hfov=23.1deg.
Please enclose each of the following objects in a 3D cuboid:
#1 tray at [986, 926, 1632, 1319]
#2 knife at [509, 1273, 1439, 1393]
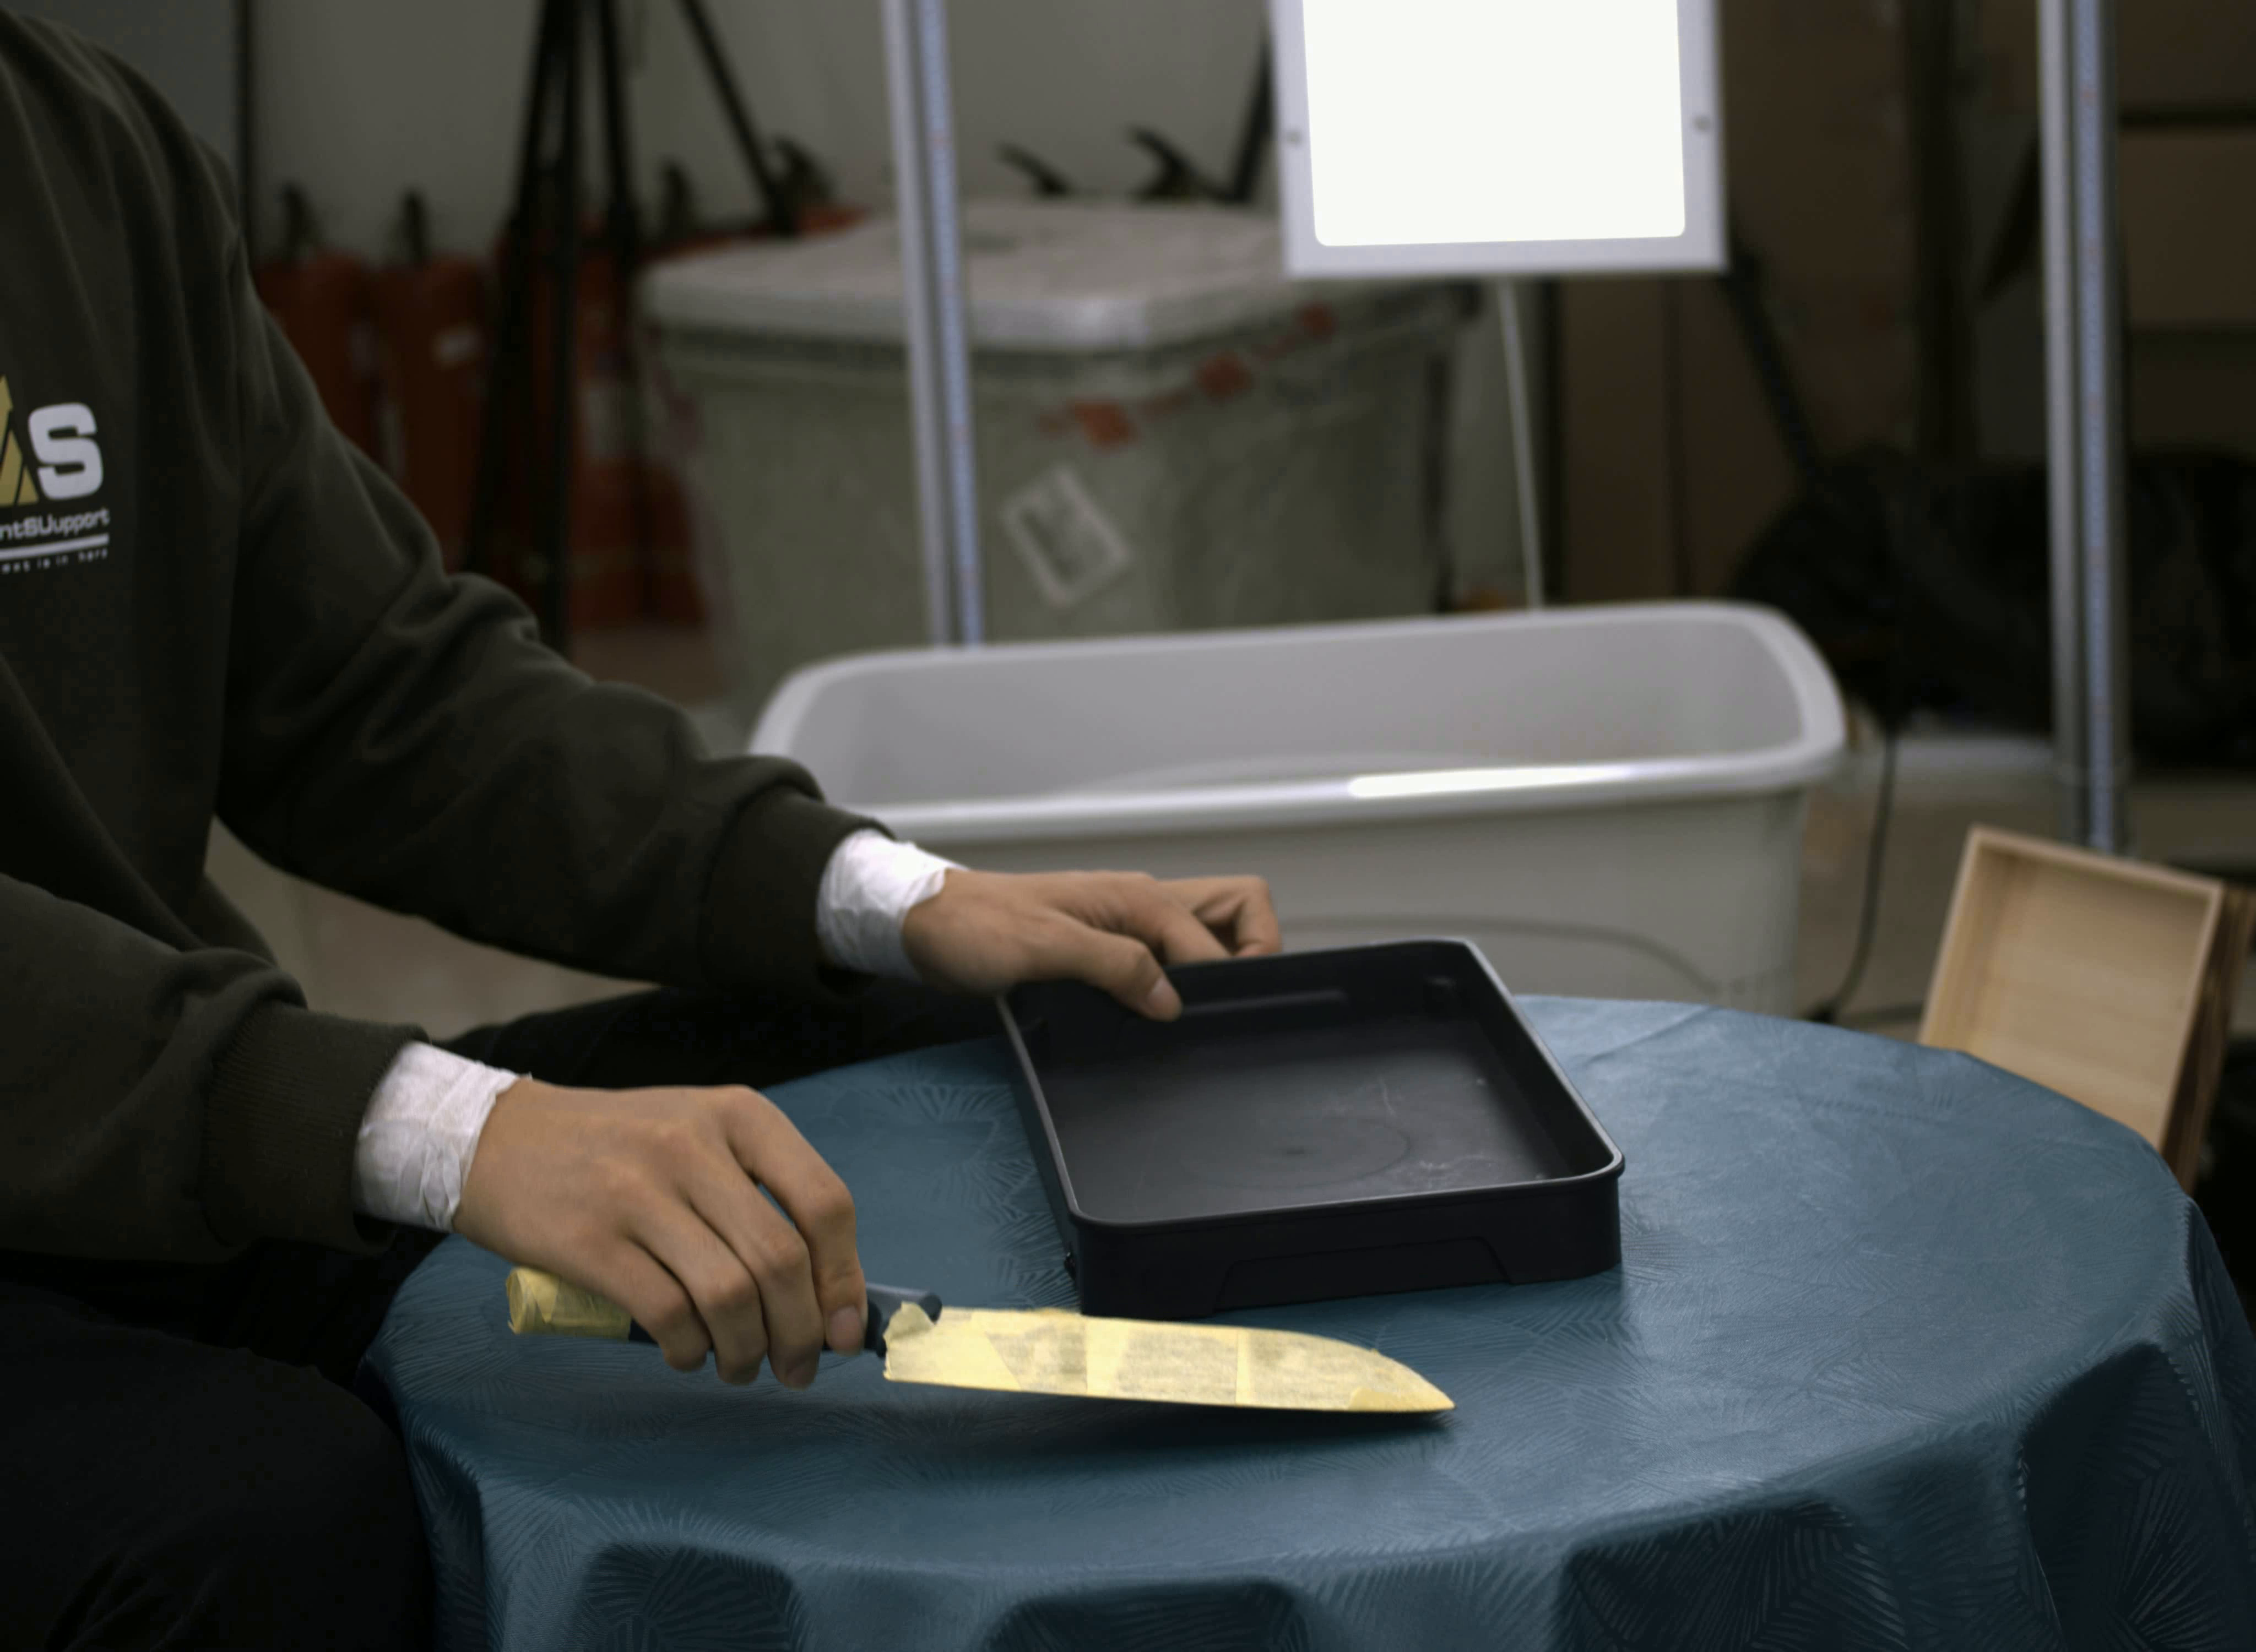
[{"bbox_3d":[0.057,0.099,1.918,0.183,0.037,0.319,-8,14,-5],"label":"tray"},{"bbox_3d":[-0.048,0.158,1.678,0.290,0.027,0.080,2,12,7],"label":"knife"}]
